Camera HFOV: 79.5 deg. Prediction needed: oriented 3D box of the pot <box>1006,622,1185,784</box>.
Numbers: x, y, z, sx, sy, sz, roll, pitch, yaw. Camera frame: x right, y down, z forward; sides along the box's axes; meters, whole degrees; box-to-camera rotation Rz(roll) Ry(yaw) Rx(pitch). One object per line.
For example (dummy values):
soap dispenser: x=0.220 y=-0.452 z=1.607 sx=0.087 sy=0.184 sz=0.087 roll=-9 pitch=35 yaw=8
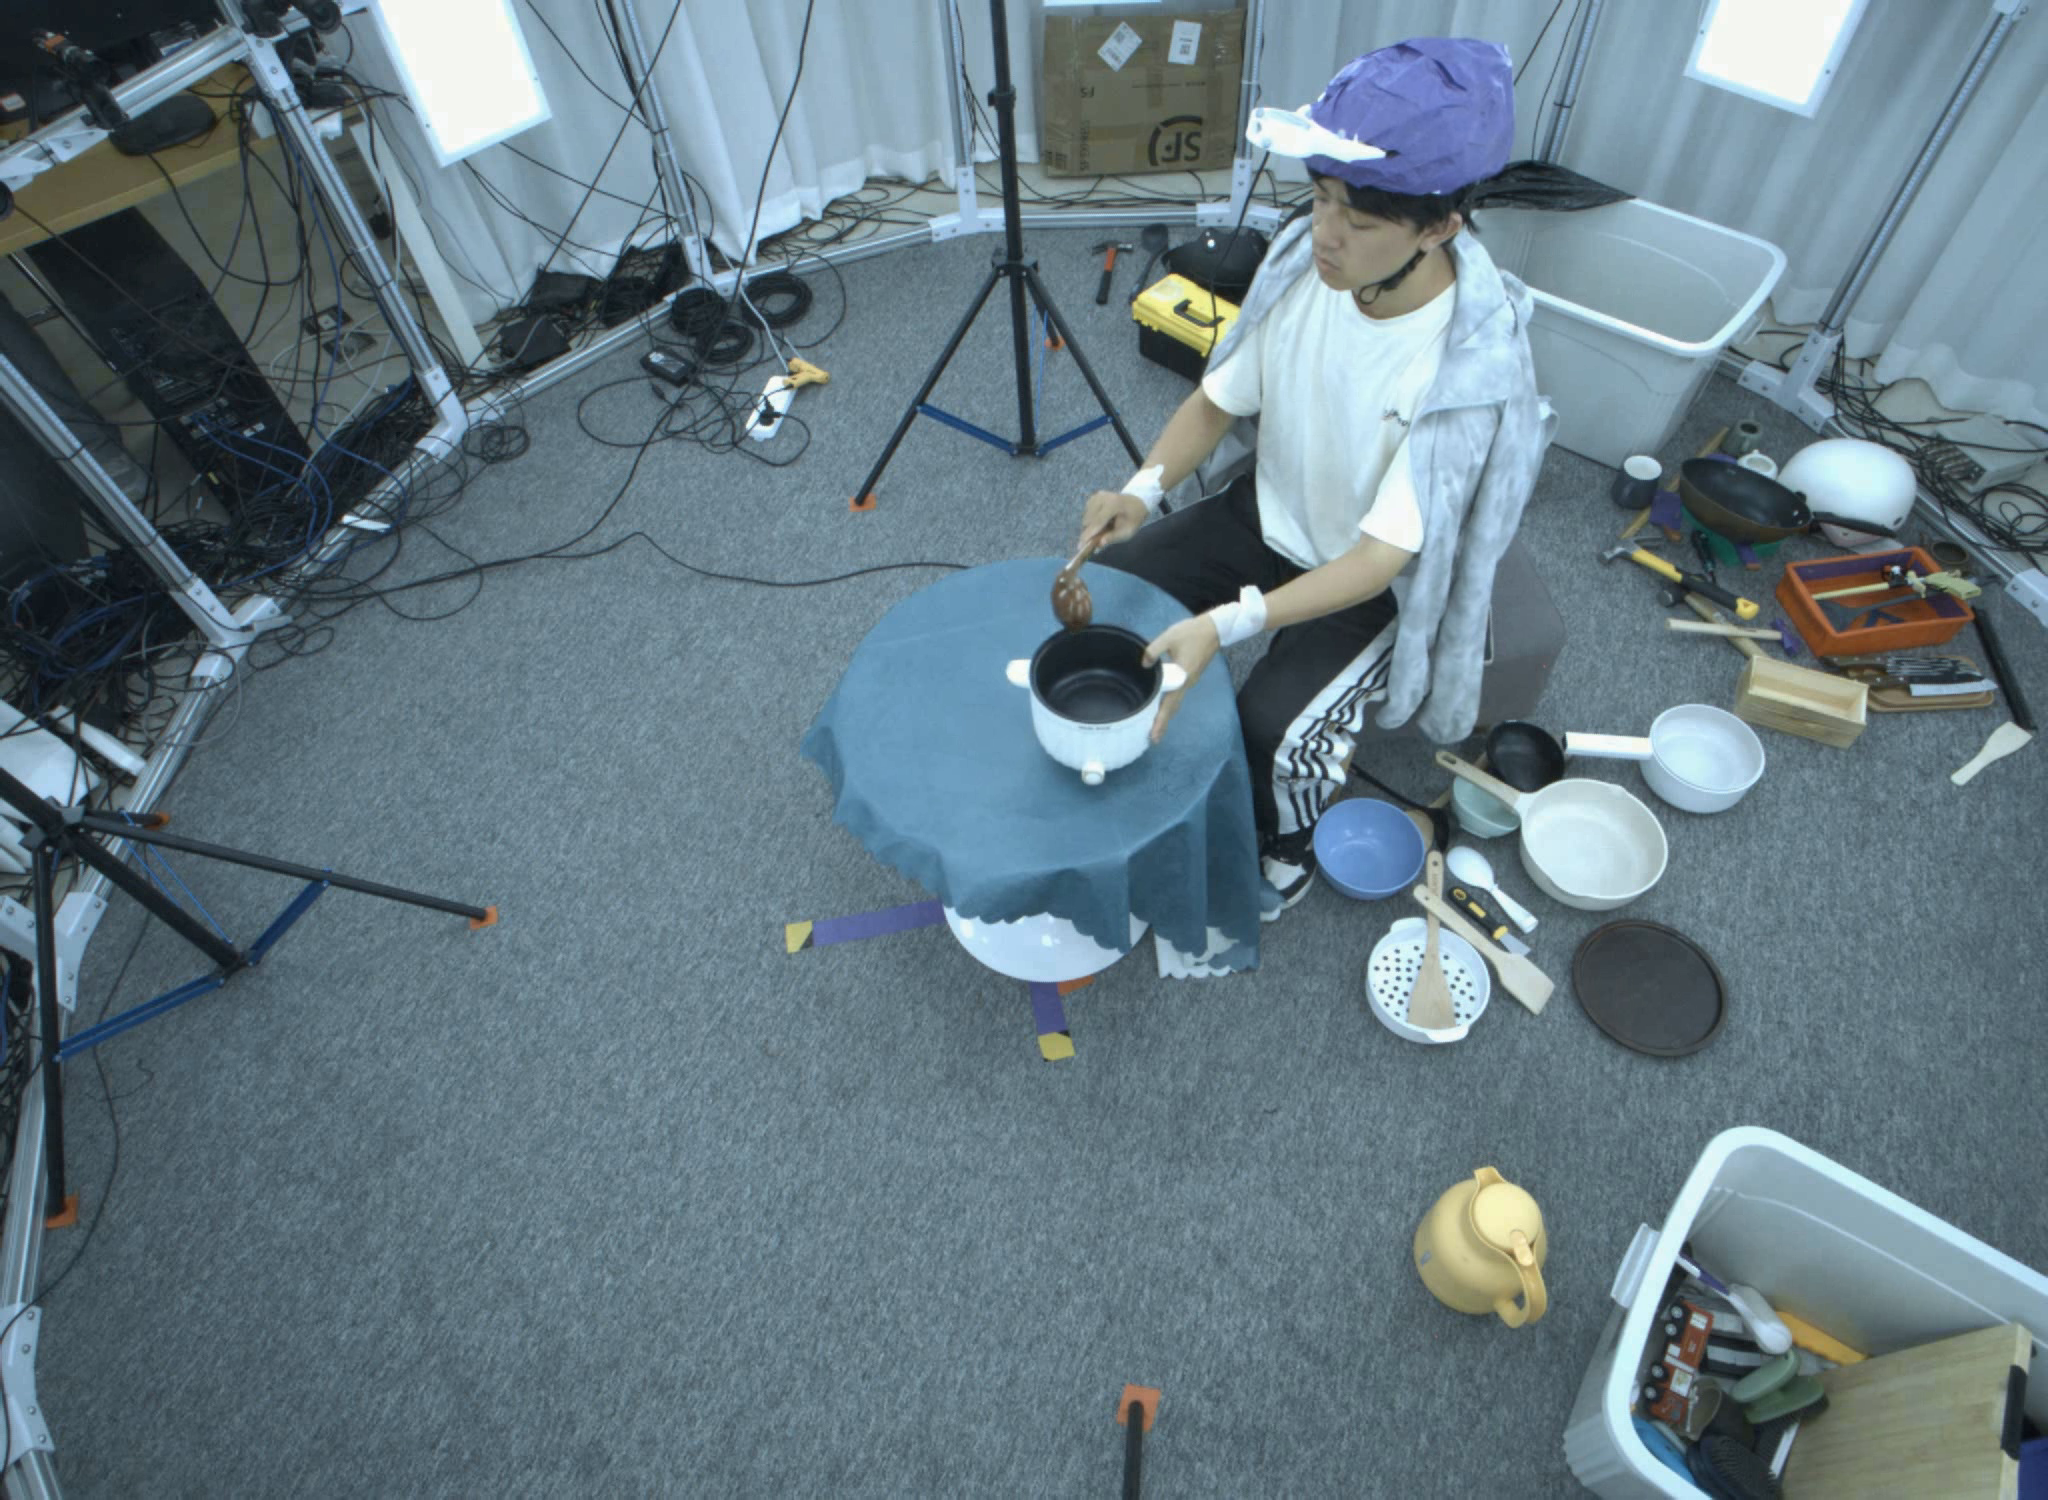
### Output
pot: x=0.099 y=-0.062 z=1.701 sx=0.240 sy=0.144 sz=0.189 roll=1 pitch=49 yaw=4

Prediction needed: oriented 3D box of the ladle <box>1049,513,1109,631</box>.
ladle: x=0.102 y=-0.263 z=1.749 sx=0.076 sy=0.082 sz=0.274 roll=26 pitch=42 yaw=6
